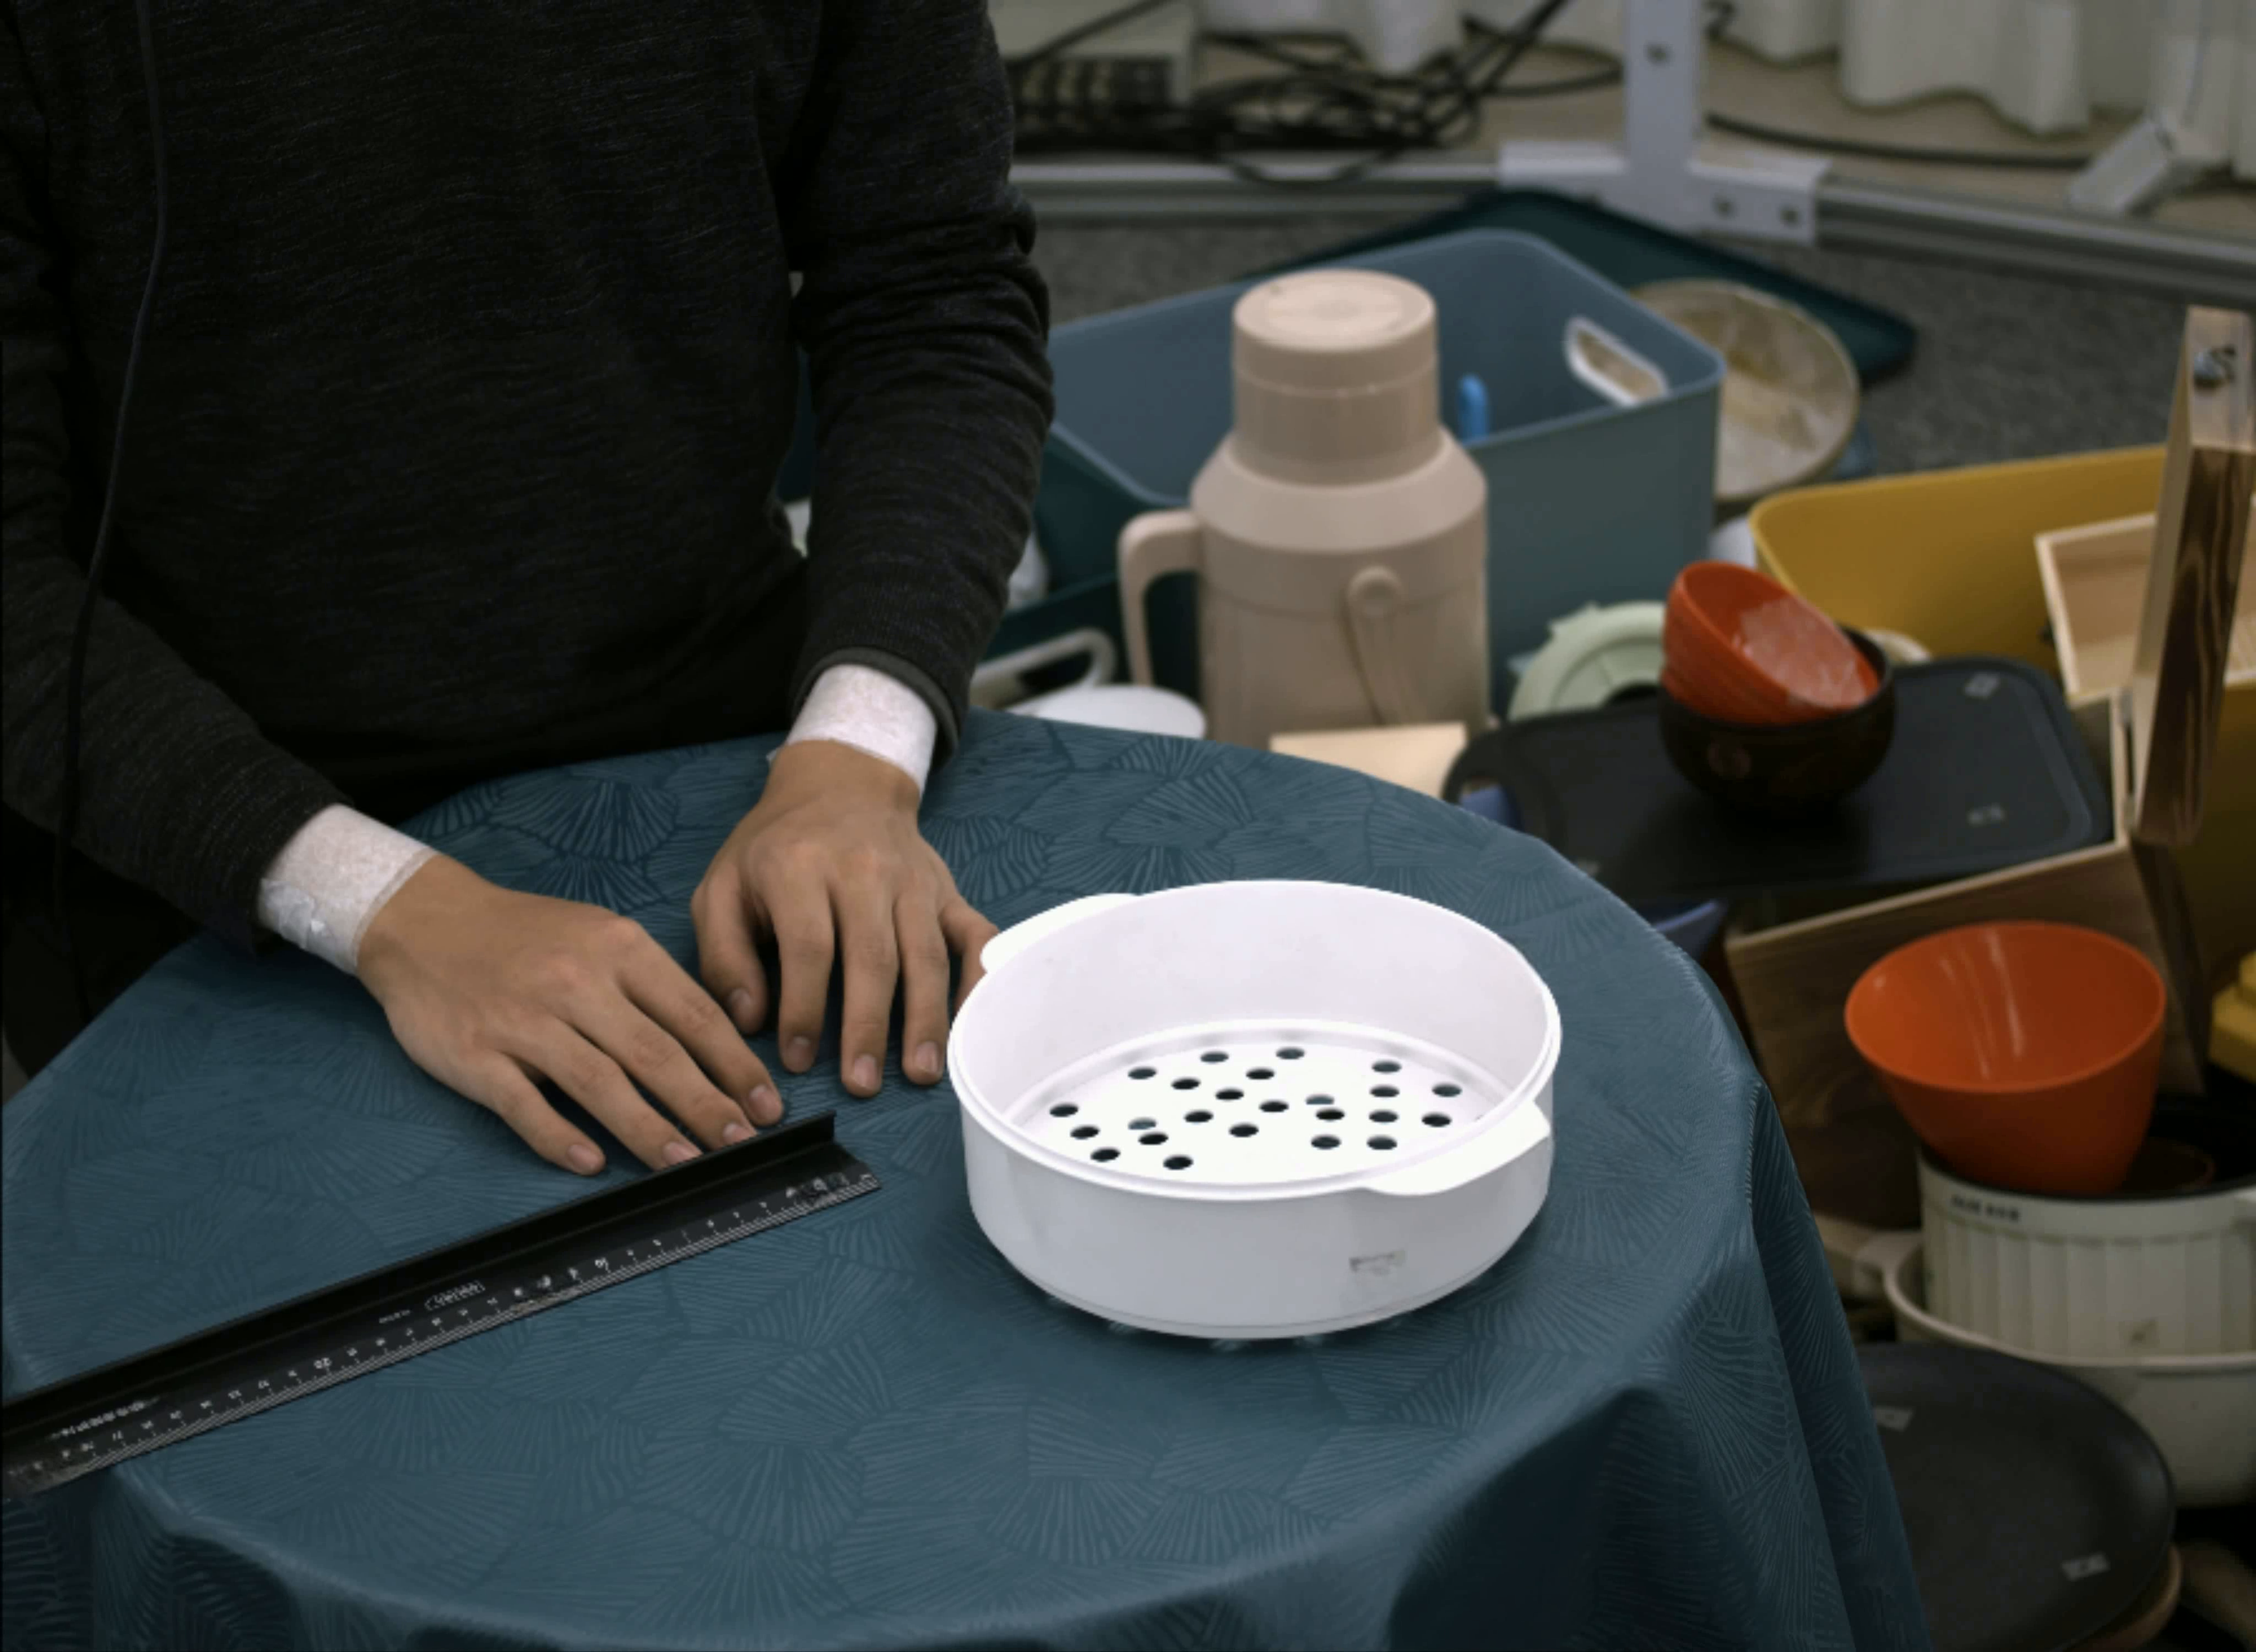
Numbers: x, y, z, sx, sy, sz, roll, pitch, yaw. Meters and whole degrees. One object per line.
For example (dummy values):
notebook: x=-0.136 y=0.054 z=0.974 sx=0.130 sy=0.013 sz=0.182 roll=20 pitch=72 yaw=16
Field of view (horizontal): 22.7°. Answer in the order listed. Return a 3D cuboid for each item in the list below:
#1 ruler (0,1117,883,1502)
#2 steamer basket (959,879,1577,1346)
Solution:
ruler: x=-0.222 y=0.152 z=1.807 sx=0.314 sy=0.017 sz=0.039 roll=-18 pitch=34 yaw=-27
steamer basket: x=0.046 y=0.094 z=1.836 sx=0.204 sy=0.068 sz=0.231 roll=-23 pitch=35 yaw=-34
